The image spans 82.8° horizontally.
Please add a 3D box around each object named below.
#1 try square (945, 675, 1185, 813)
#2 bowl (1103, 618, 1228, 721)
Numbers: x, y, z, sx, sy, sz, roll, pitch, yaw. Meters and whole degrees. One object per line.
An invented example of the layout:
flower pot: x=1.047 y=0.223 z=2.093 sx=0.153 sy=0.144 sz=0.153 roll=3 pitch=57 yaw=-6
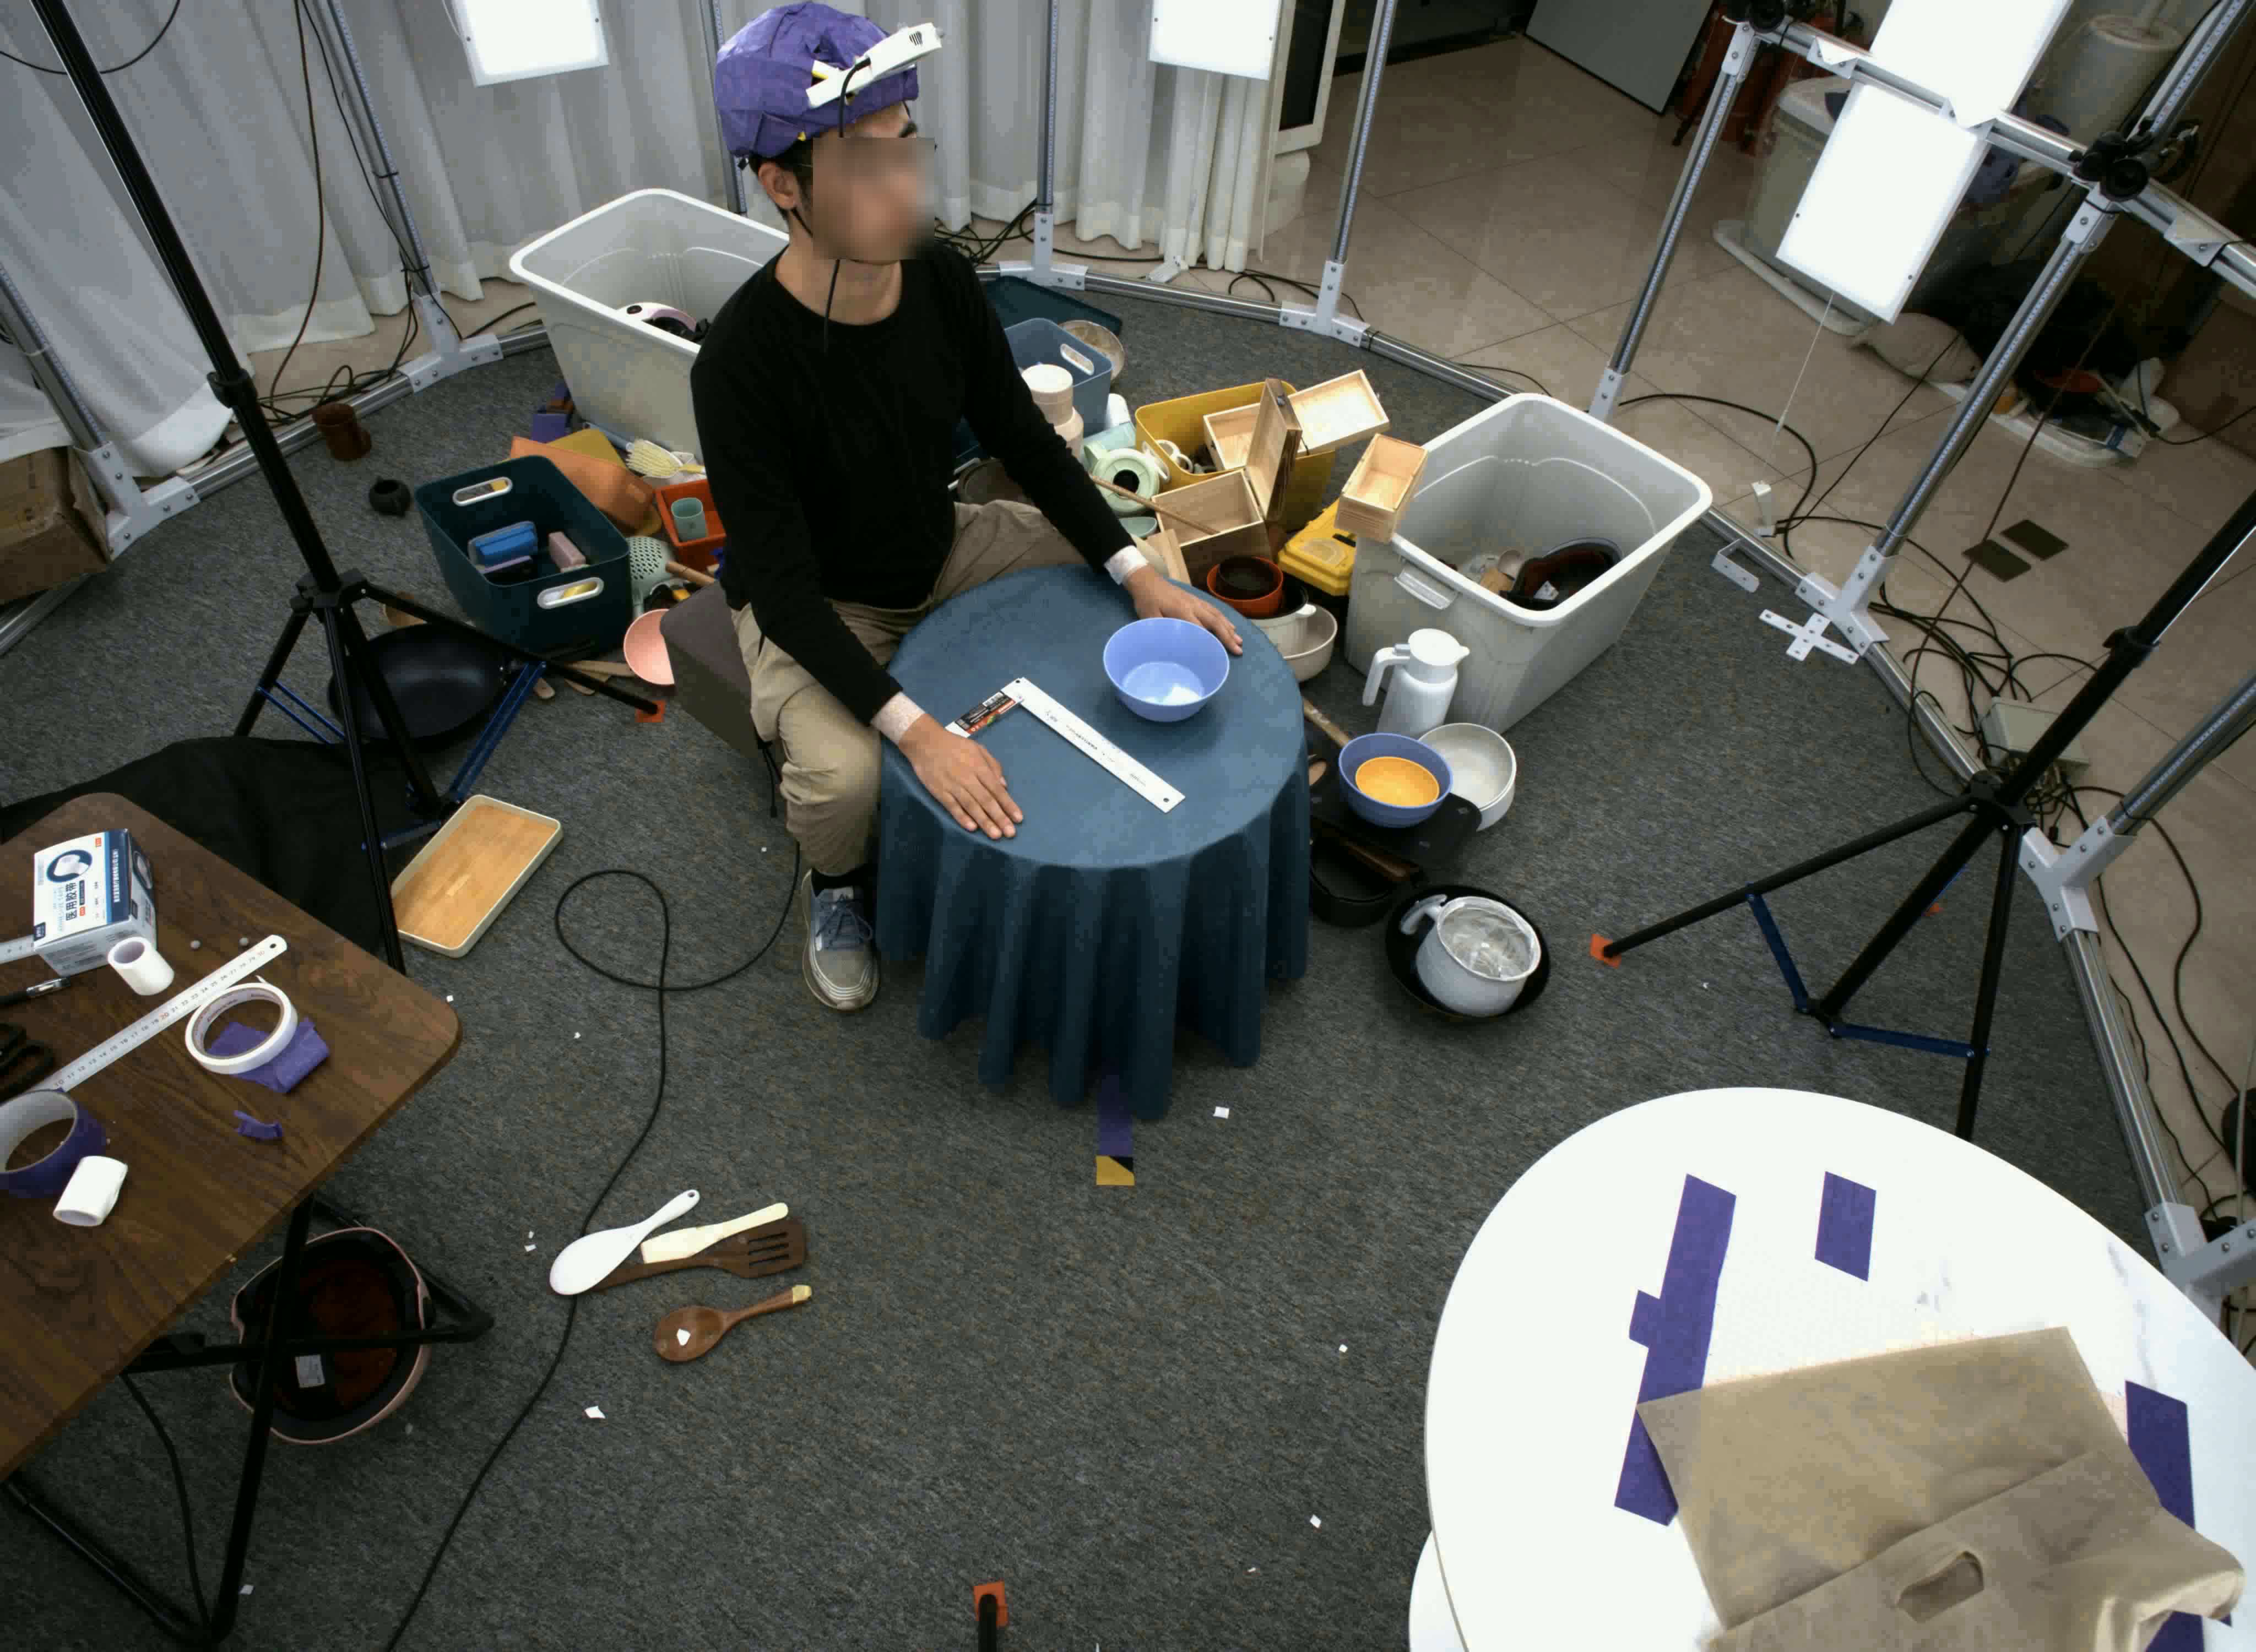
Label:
try square: x=-0.088 y=-0.086 z=1.737 sx=0.317 sy=0.015 sz=0.154 roll=38 pitch=60 yaw=24
bowl: x=0.050 y=-0.212 z=1.812 sx=0.176 sy=0.068 sz=0.180 roll=2 pitch=50 yaw=-2
